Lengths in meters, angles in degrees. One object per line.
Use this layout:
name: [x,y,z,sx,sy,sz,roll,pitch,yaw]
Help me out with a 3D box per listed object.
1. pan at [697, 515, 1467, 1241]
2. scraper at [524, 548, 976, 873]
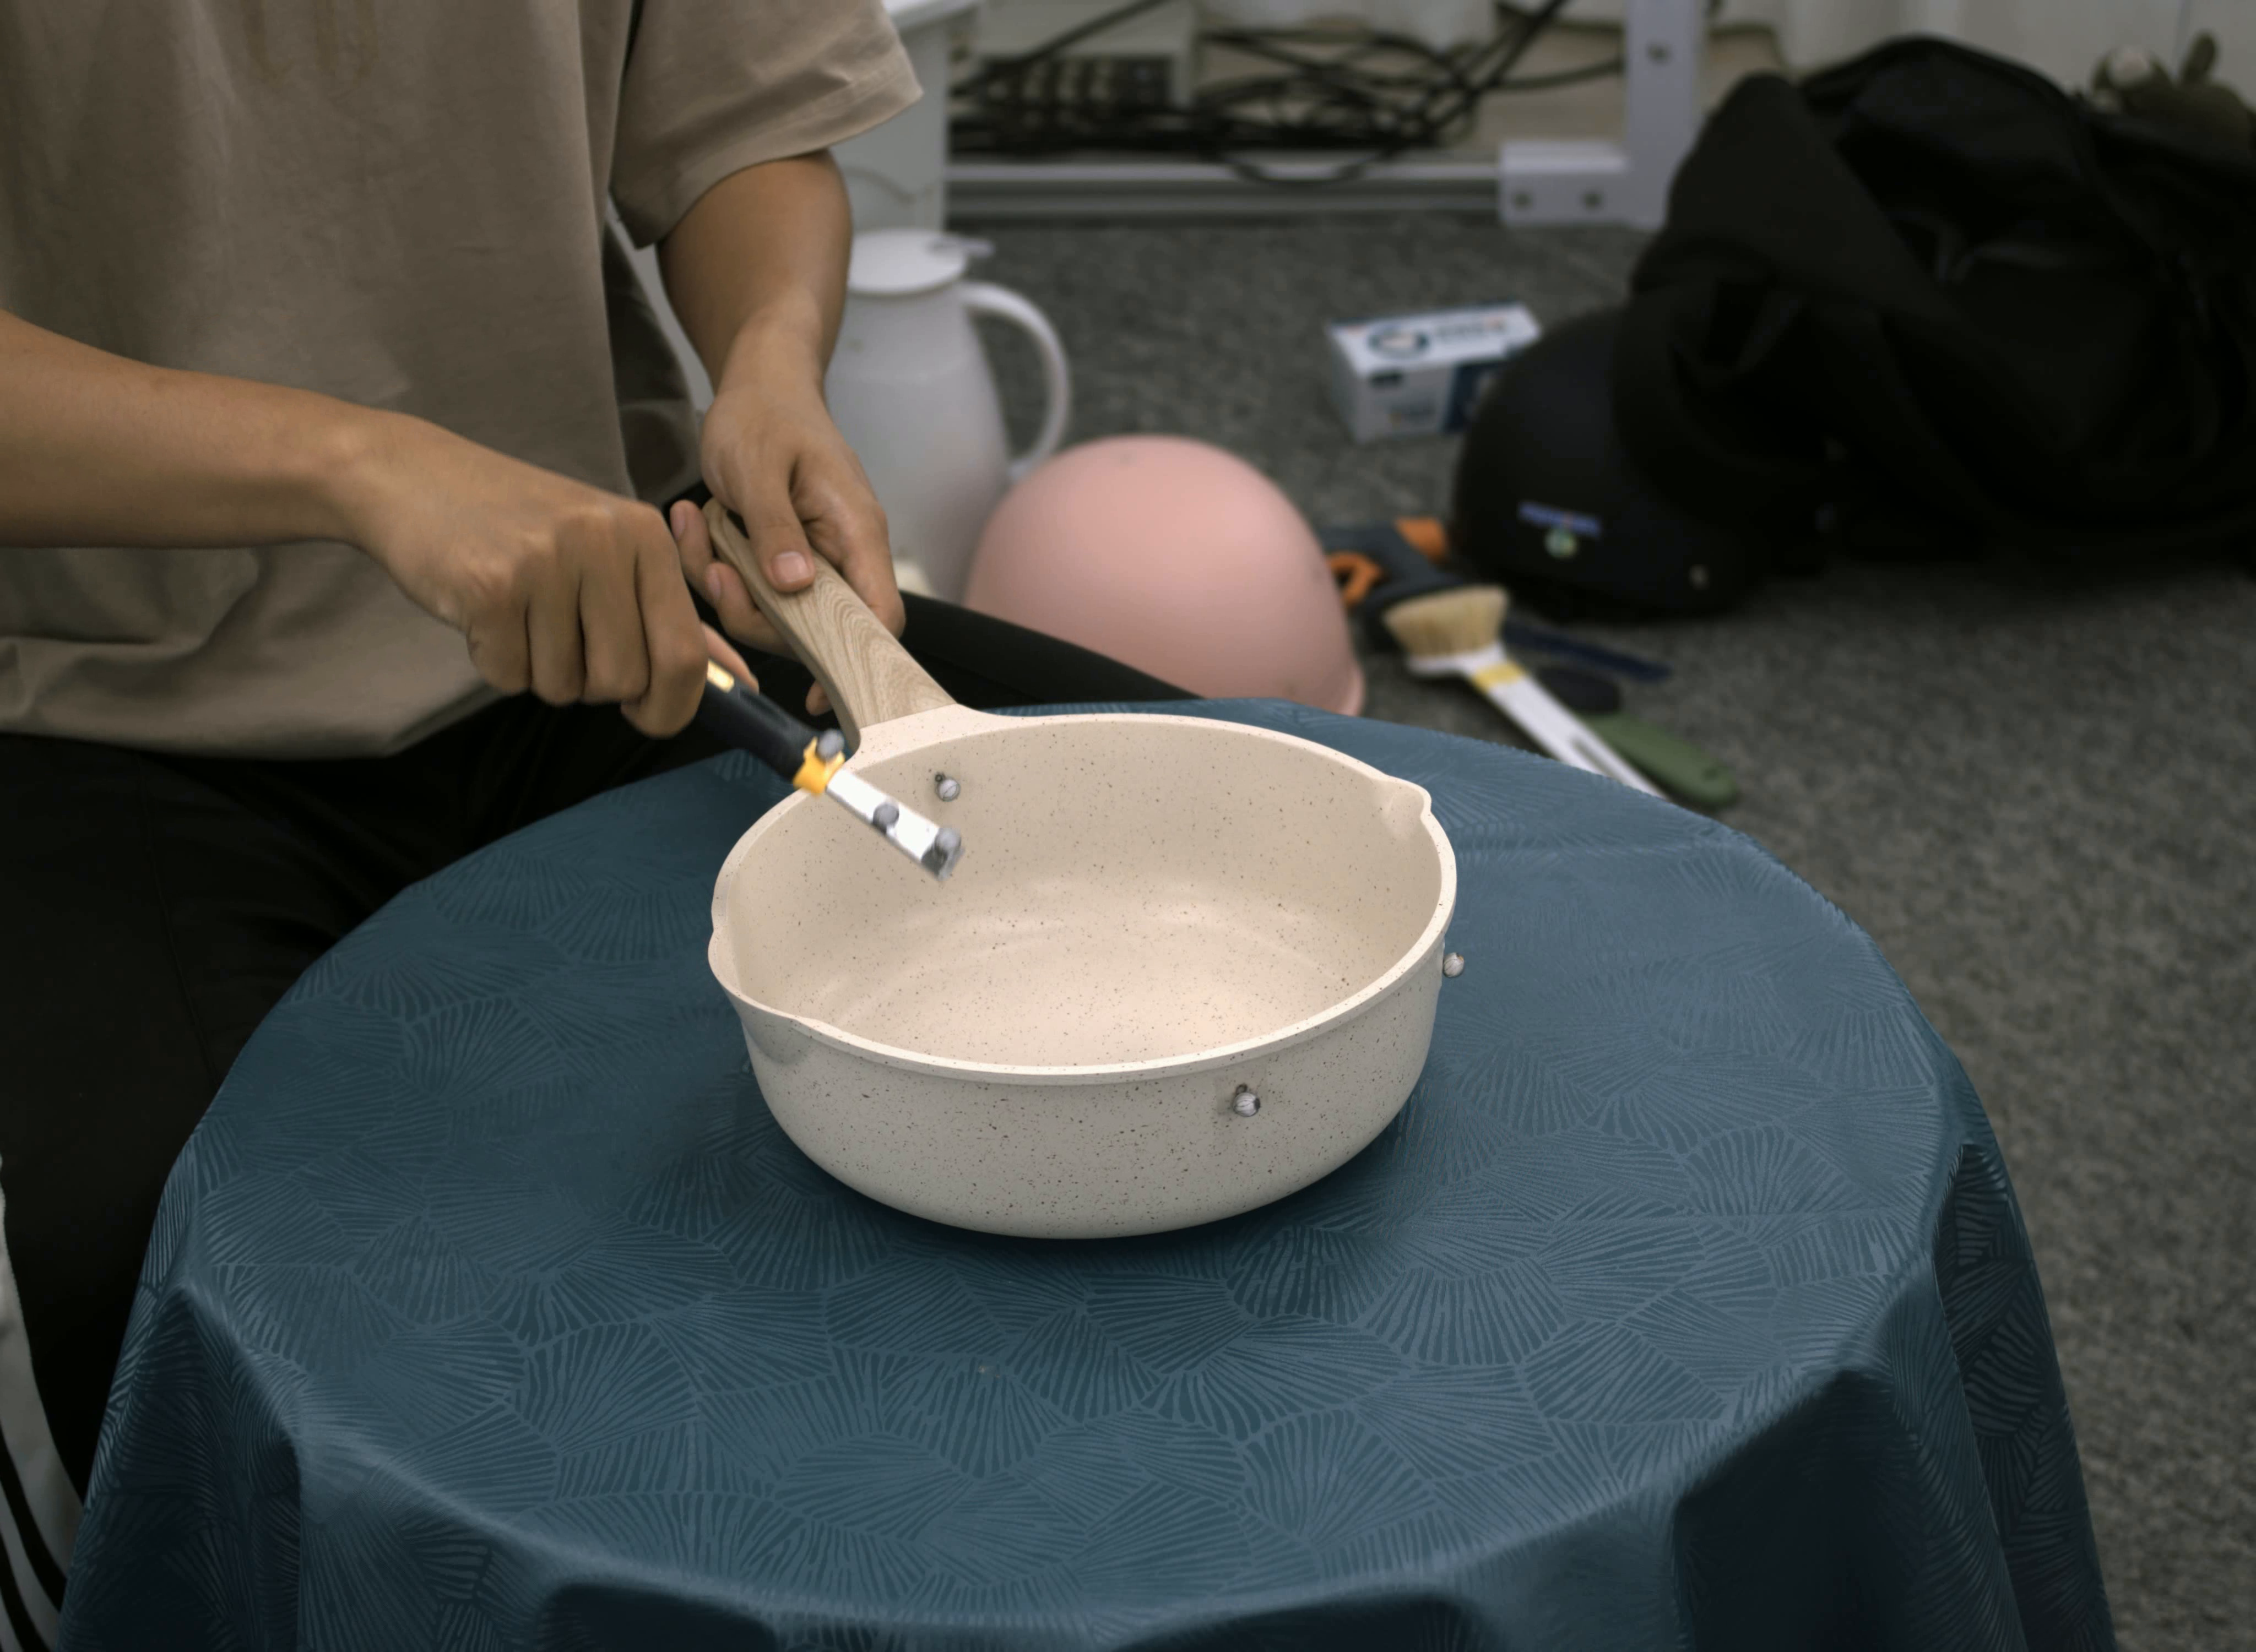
pan: [-0.049,0.012,1.976,0.264,0.101,0.437,-17,30,-21]
scraper: [-0.124,-0.038,1.841,0.170,0.015,0.039,34,26,-4]
